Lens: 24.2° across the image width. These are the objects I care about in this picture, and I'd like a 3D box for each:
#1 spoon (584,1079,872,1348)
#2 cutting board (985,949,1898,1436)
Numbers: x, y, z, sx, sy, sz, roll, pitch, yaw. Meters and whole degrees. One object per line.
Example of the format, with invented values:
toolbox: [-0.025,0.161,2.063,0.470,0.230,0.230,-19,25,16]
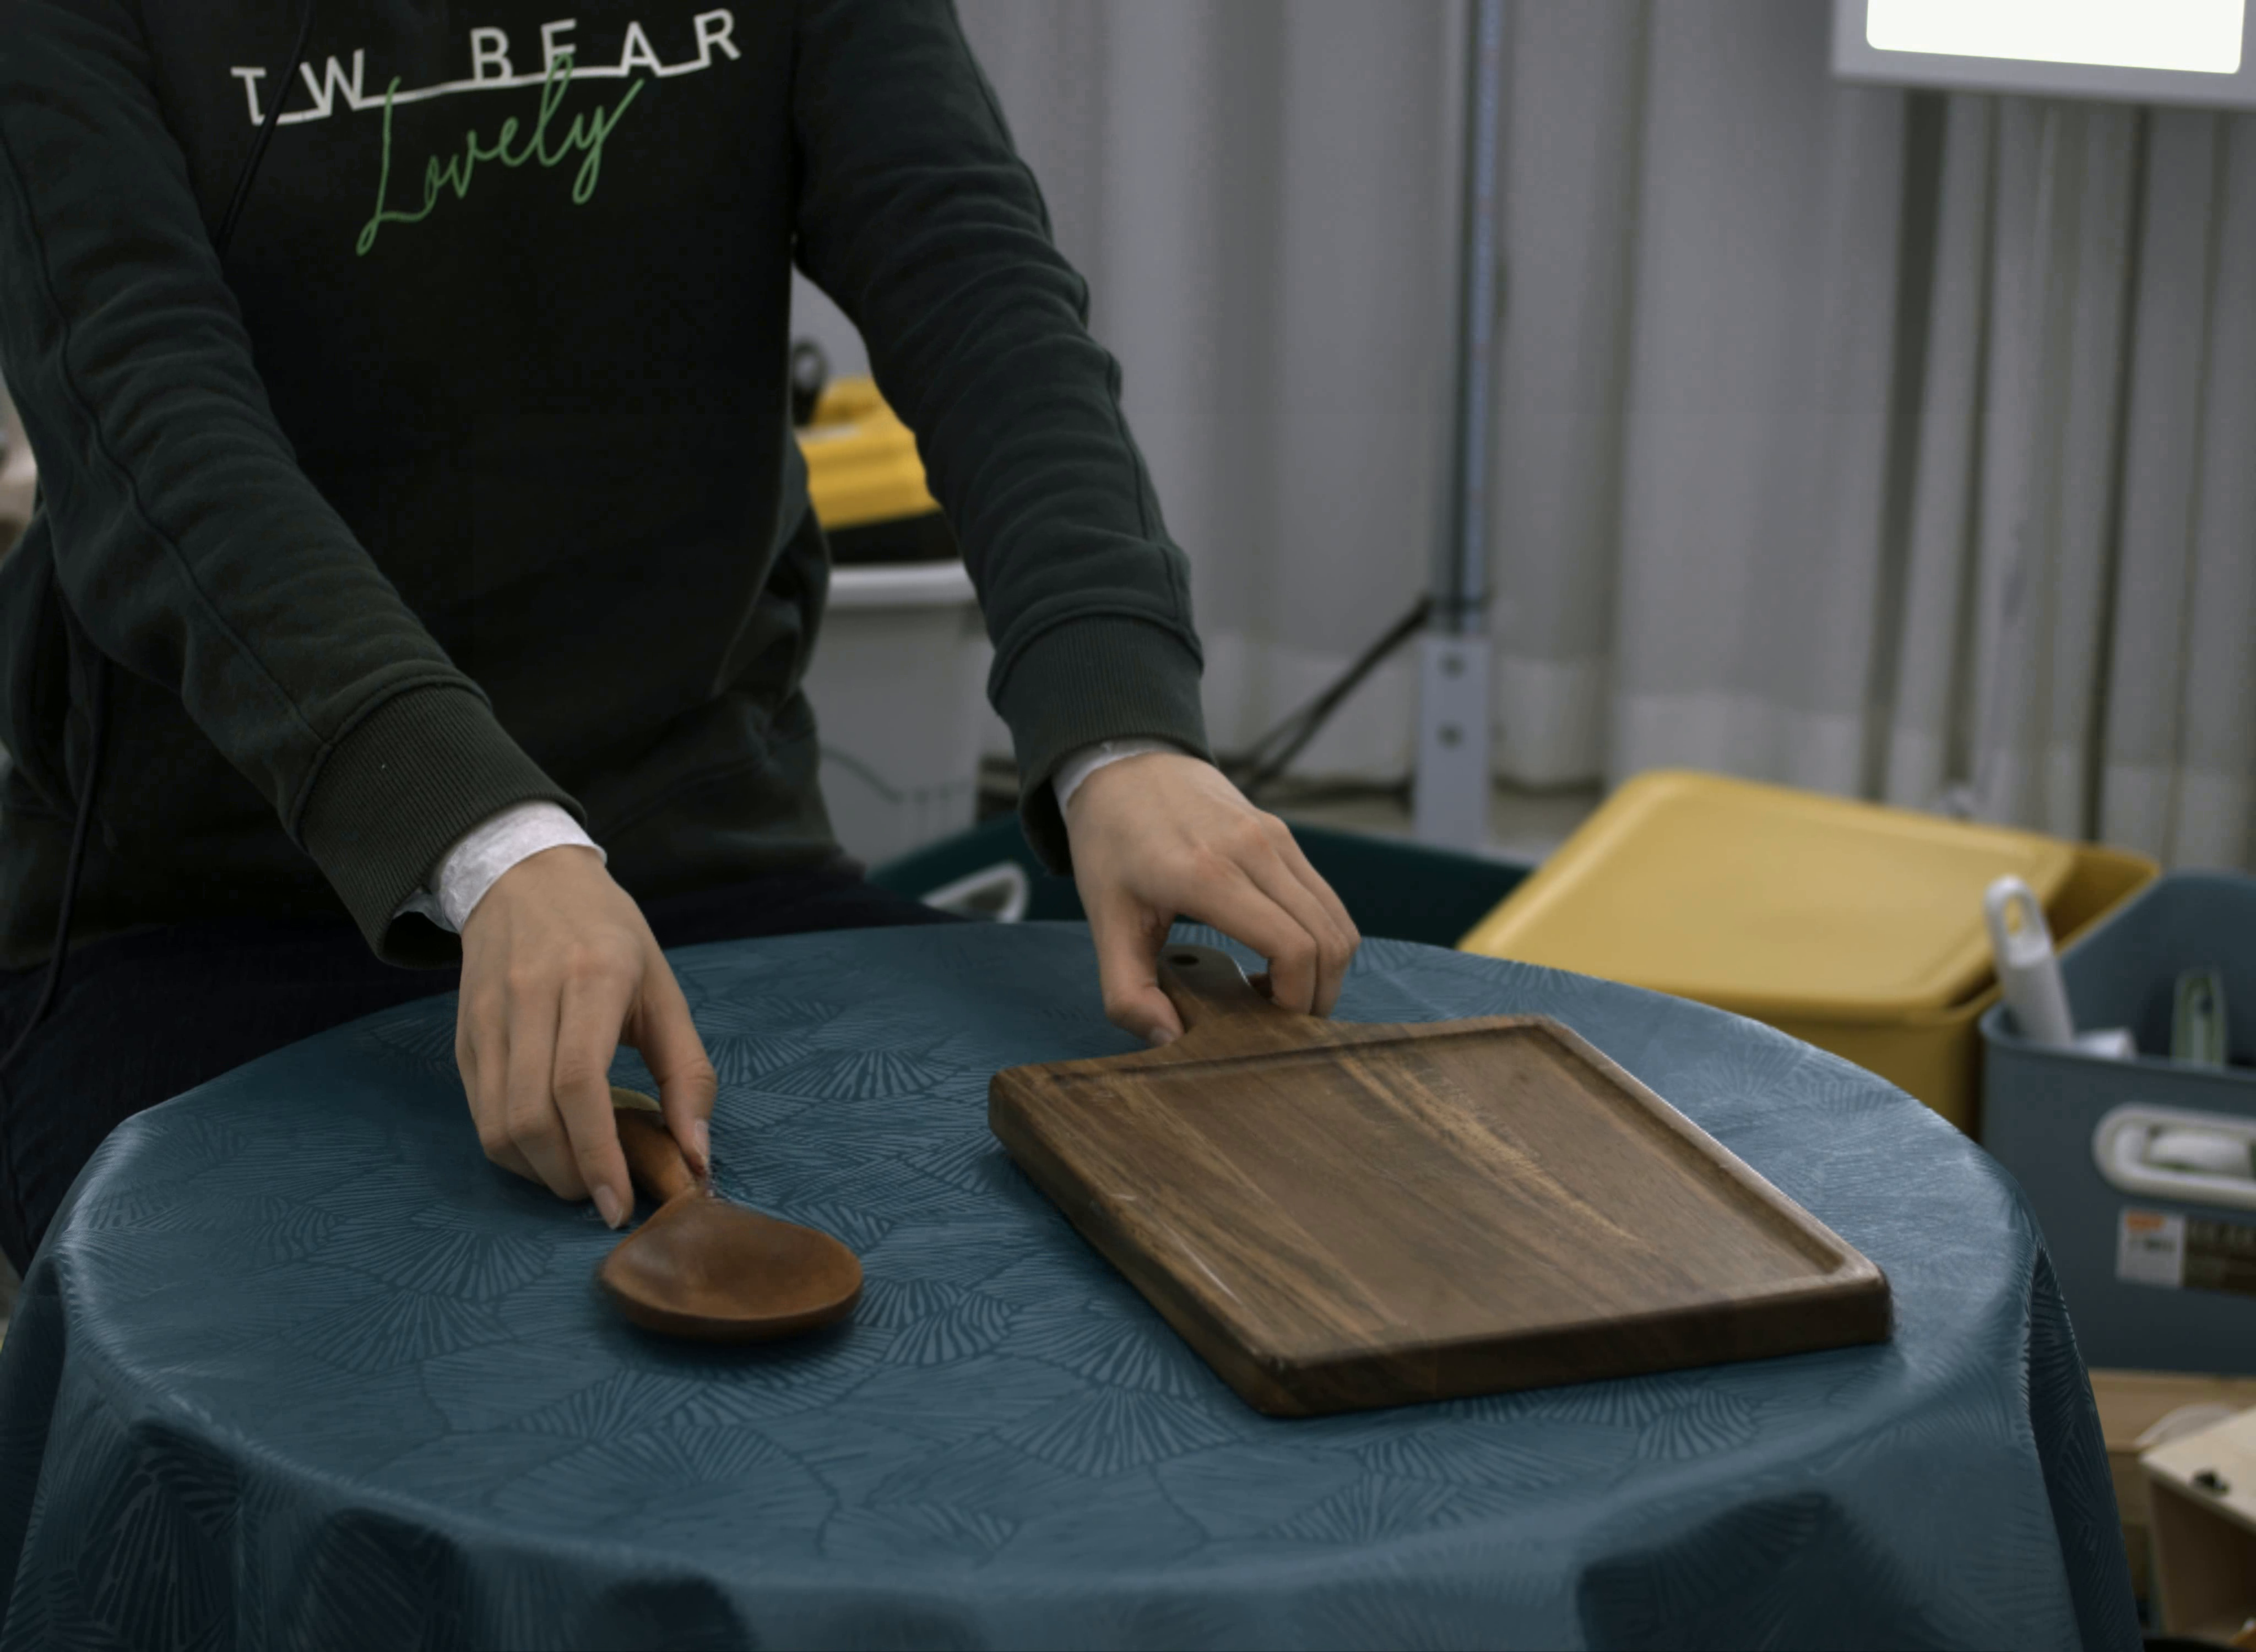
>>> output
spoon: [-0.130,0.116,1.574,0.075,0.017,0.213,-6,18,-16]
cutting board: [0.071,0.100,1.626,0.201,0.023,0.348,-6,19,-19]
